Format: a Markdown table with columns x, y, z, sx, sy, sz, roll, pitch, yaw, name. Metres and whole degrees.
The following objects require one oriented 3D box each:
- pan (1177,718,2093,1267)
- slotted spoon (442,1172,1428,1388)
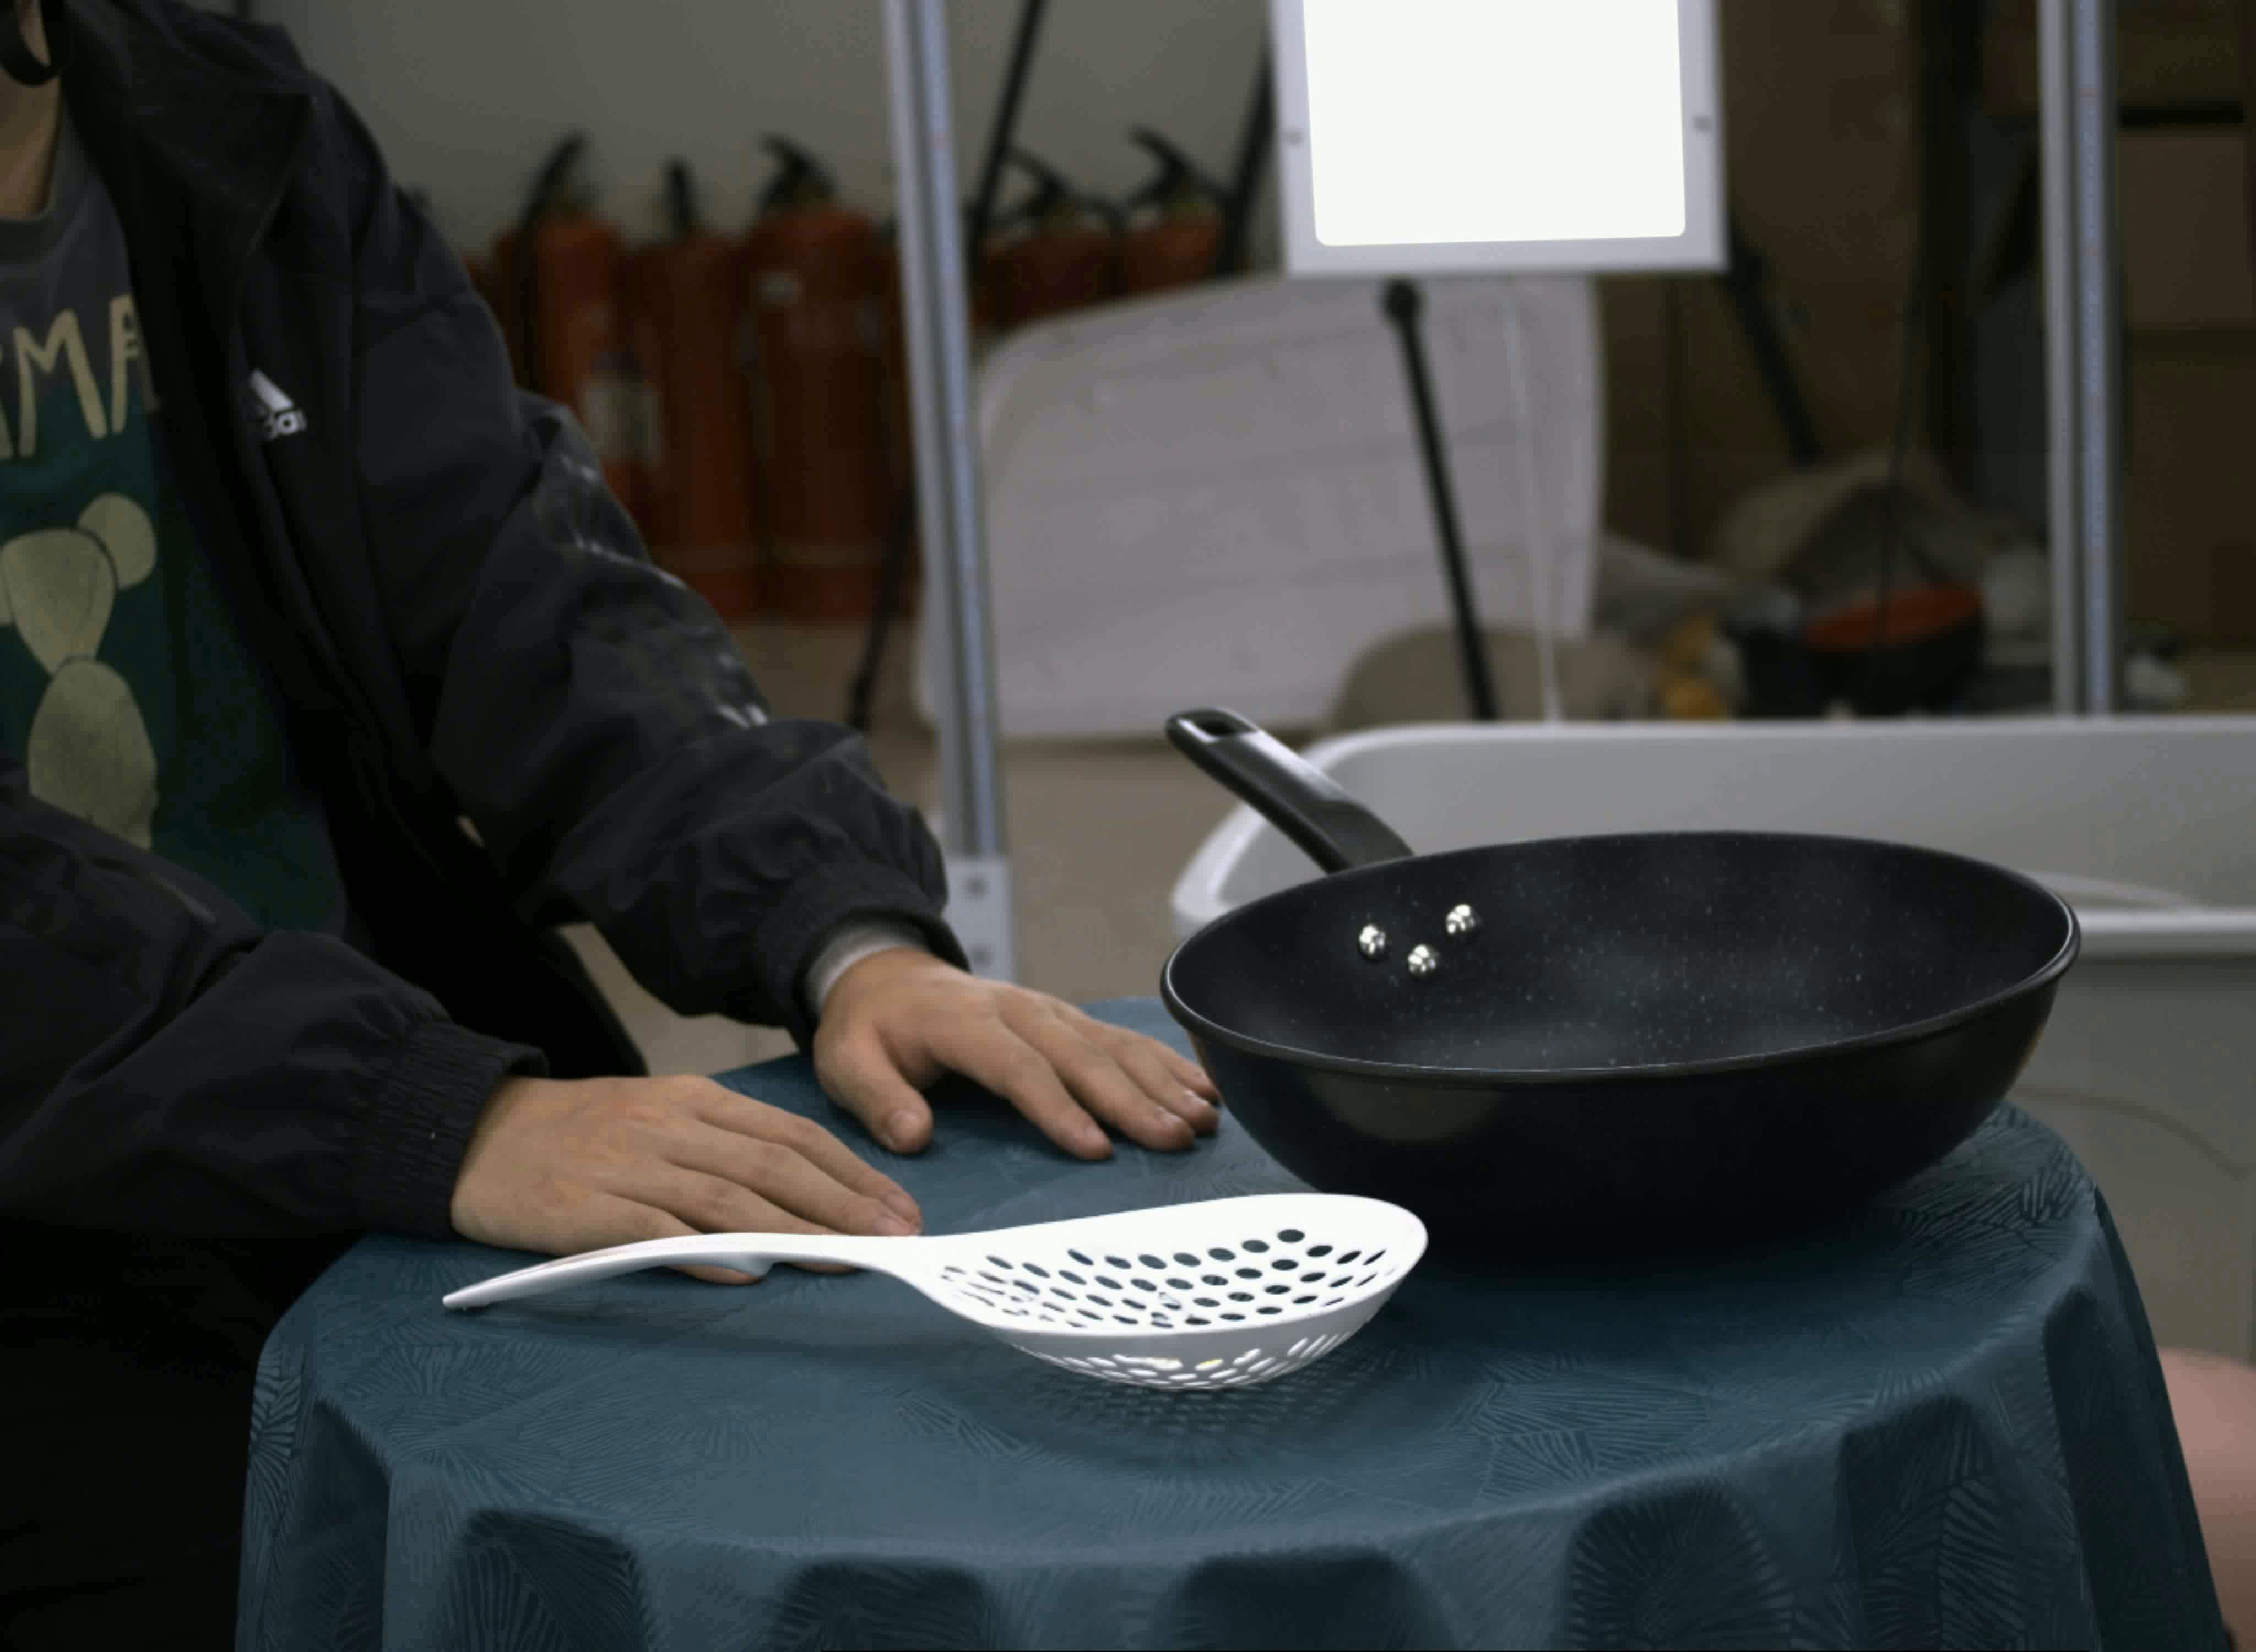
| x | y | z | sx | sy | sz | roll | pitch | yaw | name |
| --- | --- | --- | --- | --- | --- | --- | --- | --- | --- |
| 0.135 | 0.056 | 1.915 | 0.304 | 0.112 | 0.484 | -10 | 14 | -24 | pan |
| -0.070 | 0.147 | 1.754 | 0.354 | 0.050 | 0.134 | 2 | 17 | 29 | slotted spoon |
